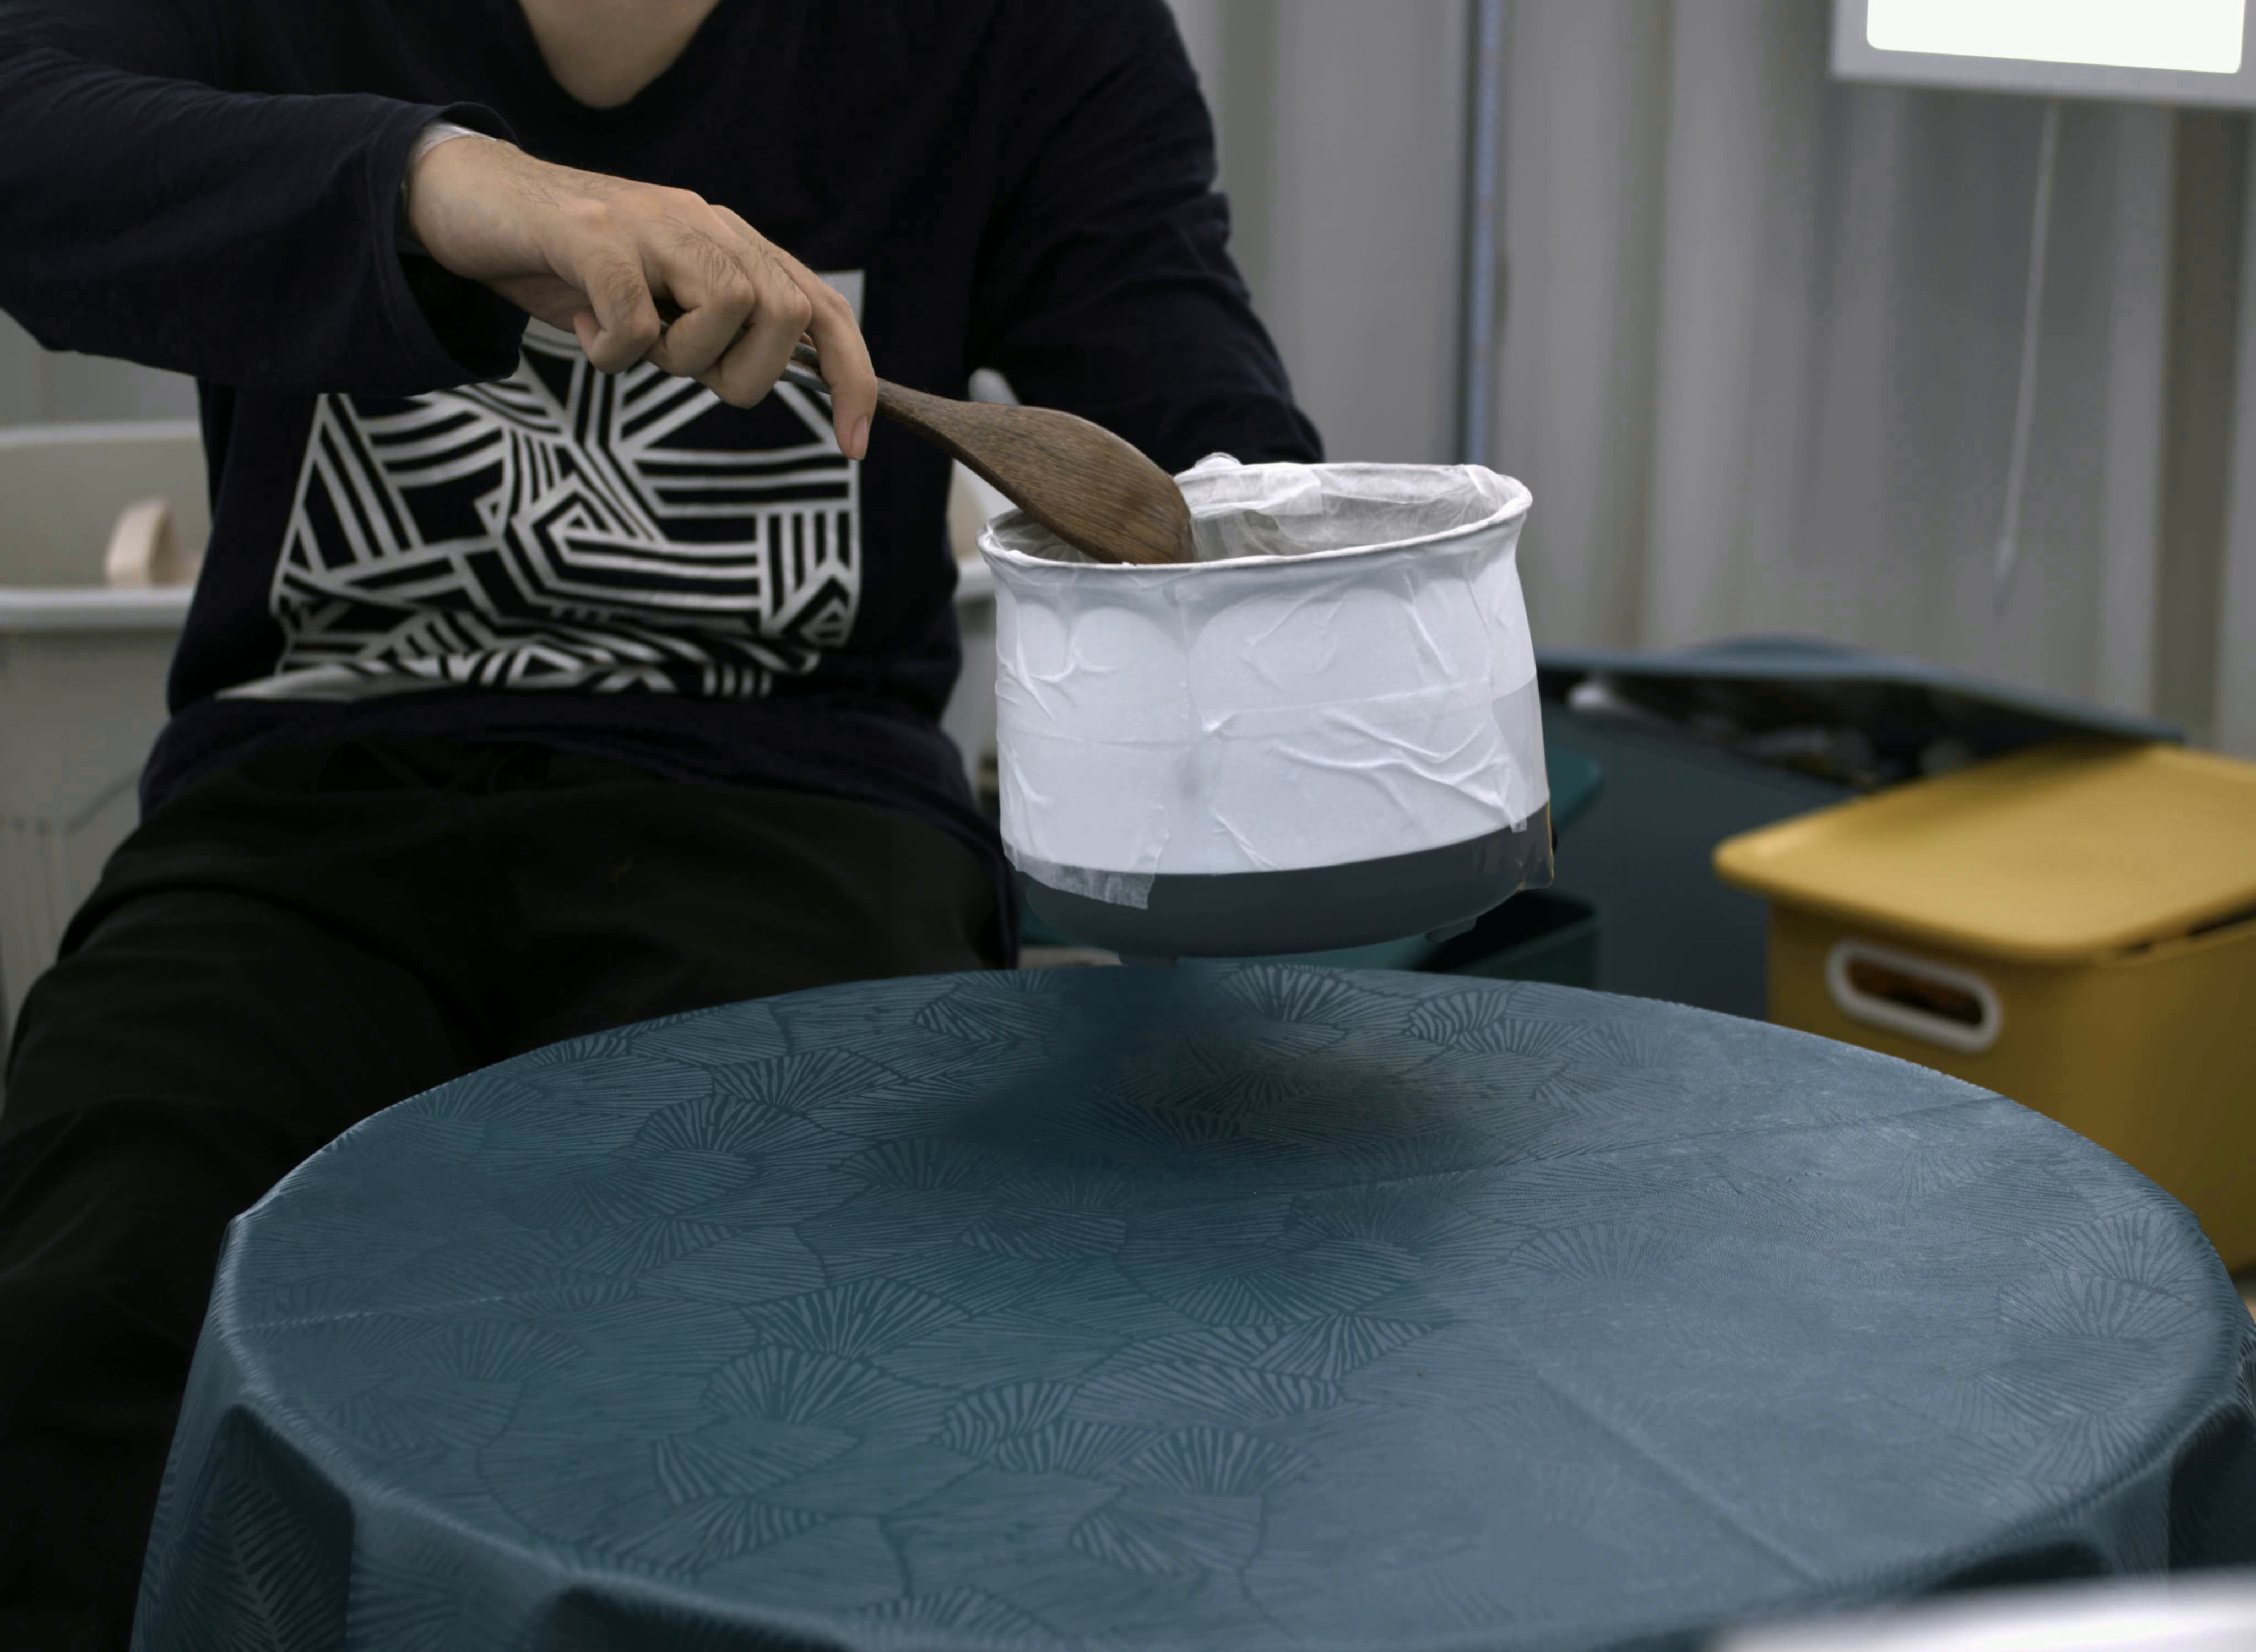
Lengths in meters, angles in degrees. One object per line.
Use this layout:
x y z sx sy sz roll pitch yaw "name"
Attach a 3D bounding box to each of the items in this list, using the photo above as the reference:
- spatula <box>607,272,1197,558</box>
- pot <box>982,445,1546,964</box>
-0.070 -0.132 1.680 0.217 0.009 0.071 24 32 -20 "spatula"
0.041 -0.044 1.703 0.178 0.137 0.232 -3 14 -7 "pot"
